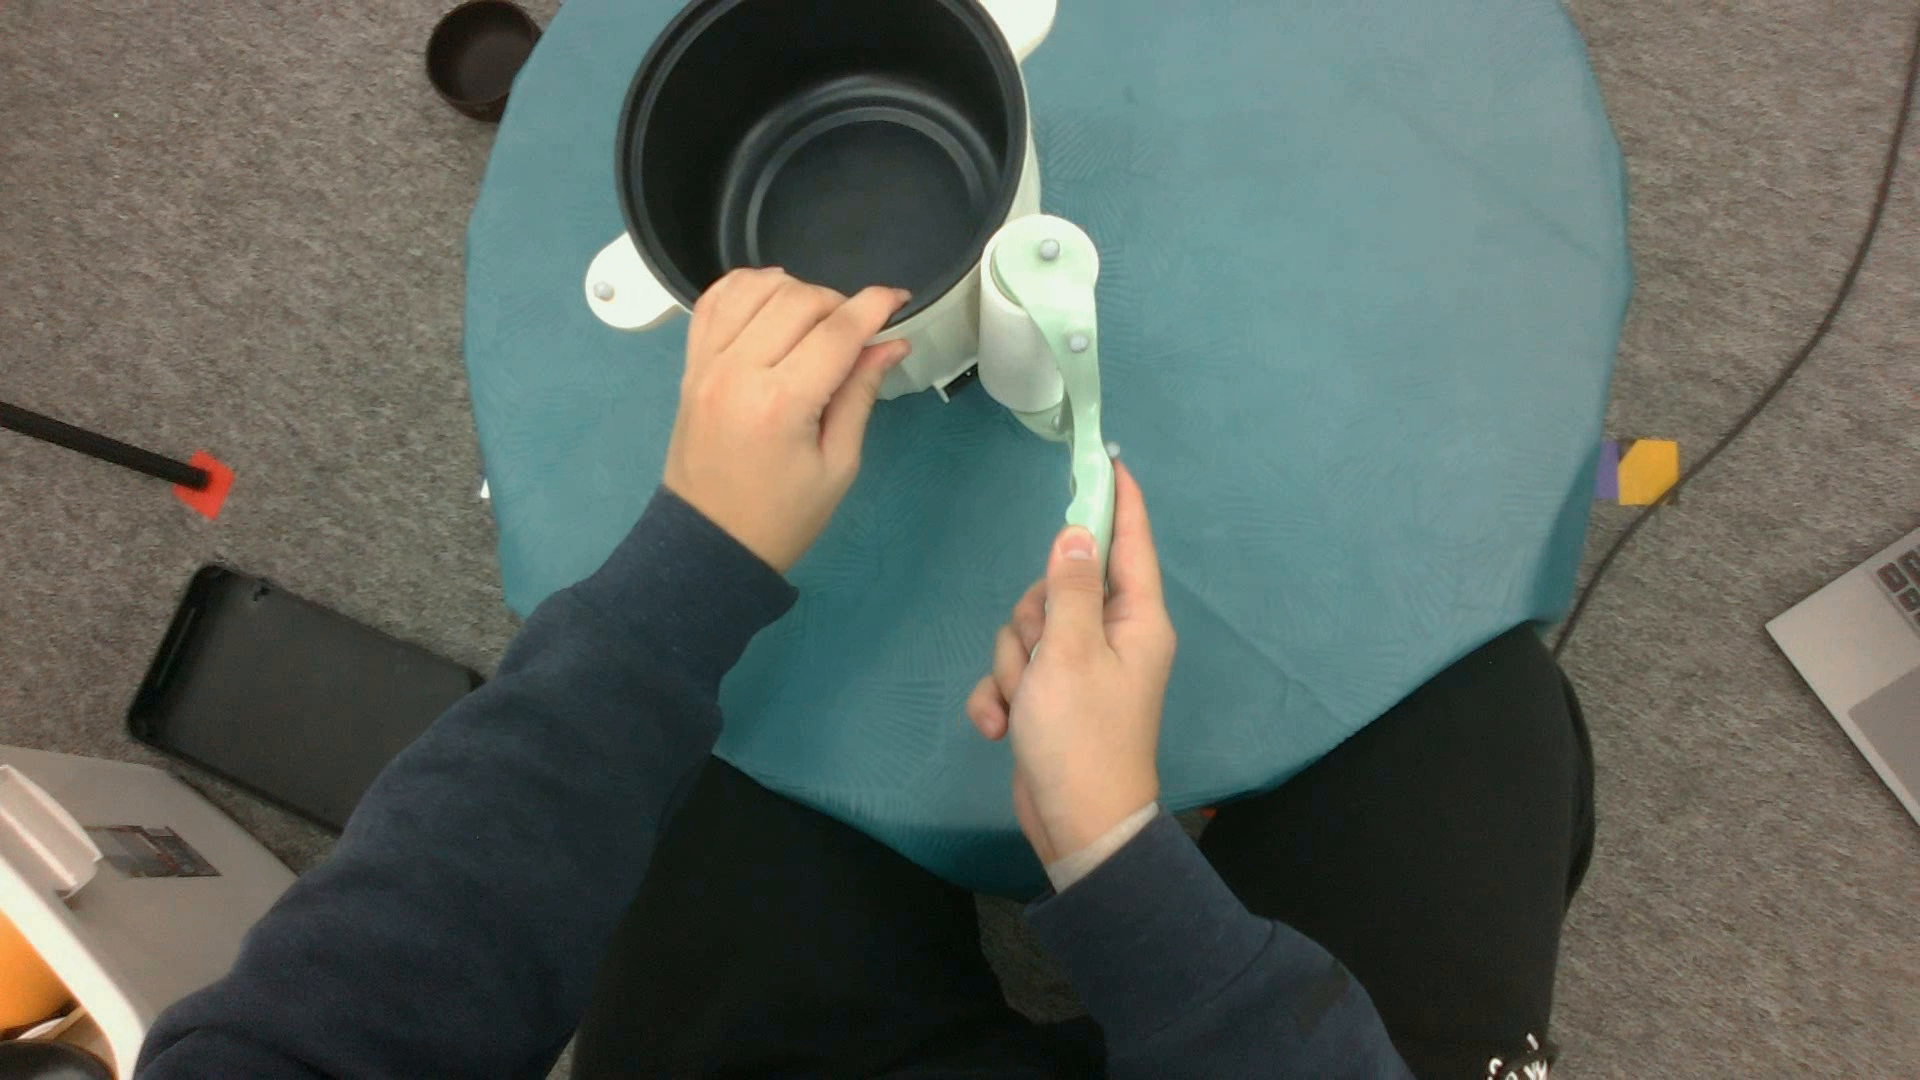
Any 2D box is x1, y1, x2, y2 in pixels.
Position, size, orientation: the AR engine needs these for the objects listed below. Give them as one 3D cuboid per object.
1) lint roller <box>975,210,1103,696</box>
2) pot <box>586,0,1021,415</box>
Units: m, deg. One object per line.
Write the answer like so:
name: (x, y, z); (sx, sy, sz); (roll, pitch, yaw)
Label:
lint roller: (0.037, -0.032, 0.592); (0.048, 0.116, 0.198); (-6, 72, -2)
pot: (-0.065, -0.157, 0.670); (0.240, 0.142, 0.190); (-39, 80, 0)
